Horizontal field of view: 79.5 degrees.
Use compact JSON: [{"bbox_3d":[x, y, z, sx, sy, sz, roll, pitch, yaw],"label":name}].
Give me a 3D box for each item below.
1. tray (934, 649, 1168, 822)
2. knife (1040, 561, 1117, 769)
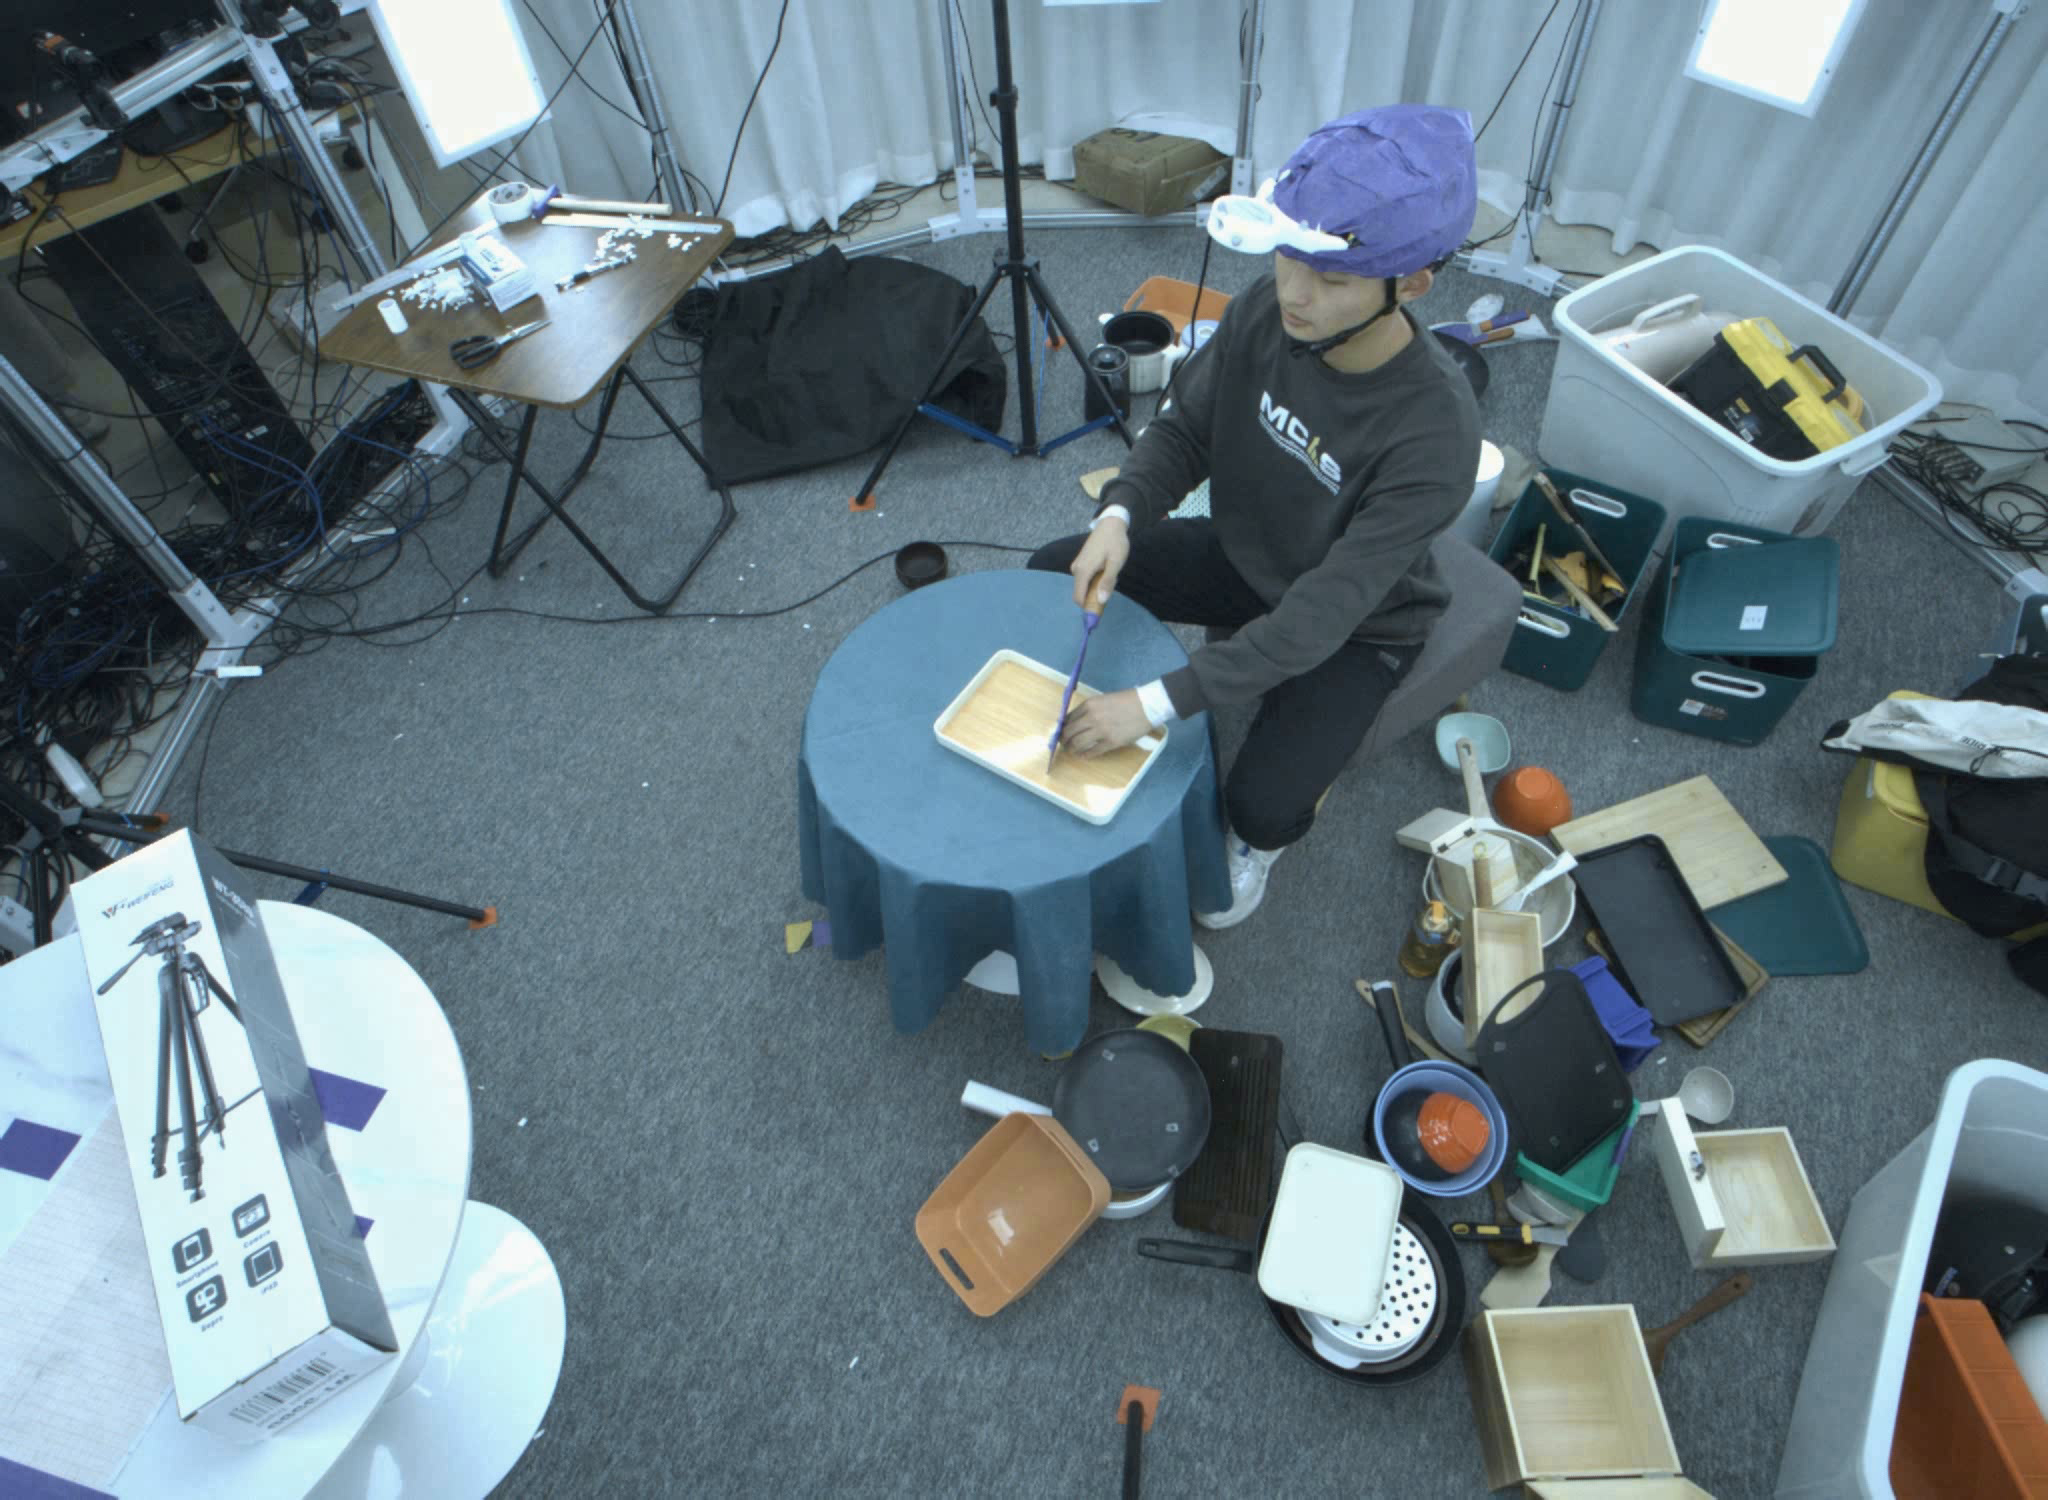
[{"bbox_3d":[0.039,-0.026,1.796,0.296,0.028,0.192,27,59,19],"label":"tray"},{"bbox_3d":[0.074,-0.124,1.779,0.032,0.104,0.314,18,67,3],"label":"knife"}]
